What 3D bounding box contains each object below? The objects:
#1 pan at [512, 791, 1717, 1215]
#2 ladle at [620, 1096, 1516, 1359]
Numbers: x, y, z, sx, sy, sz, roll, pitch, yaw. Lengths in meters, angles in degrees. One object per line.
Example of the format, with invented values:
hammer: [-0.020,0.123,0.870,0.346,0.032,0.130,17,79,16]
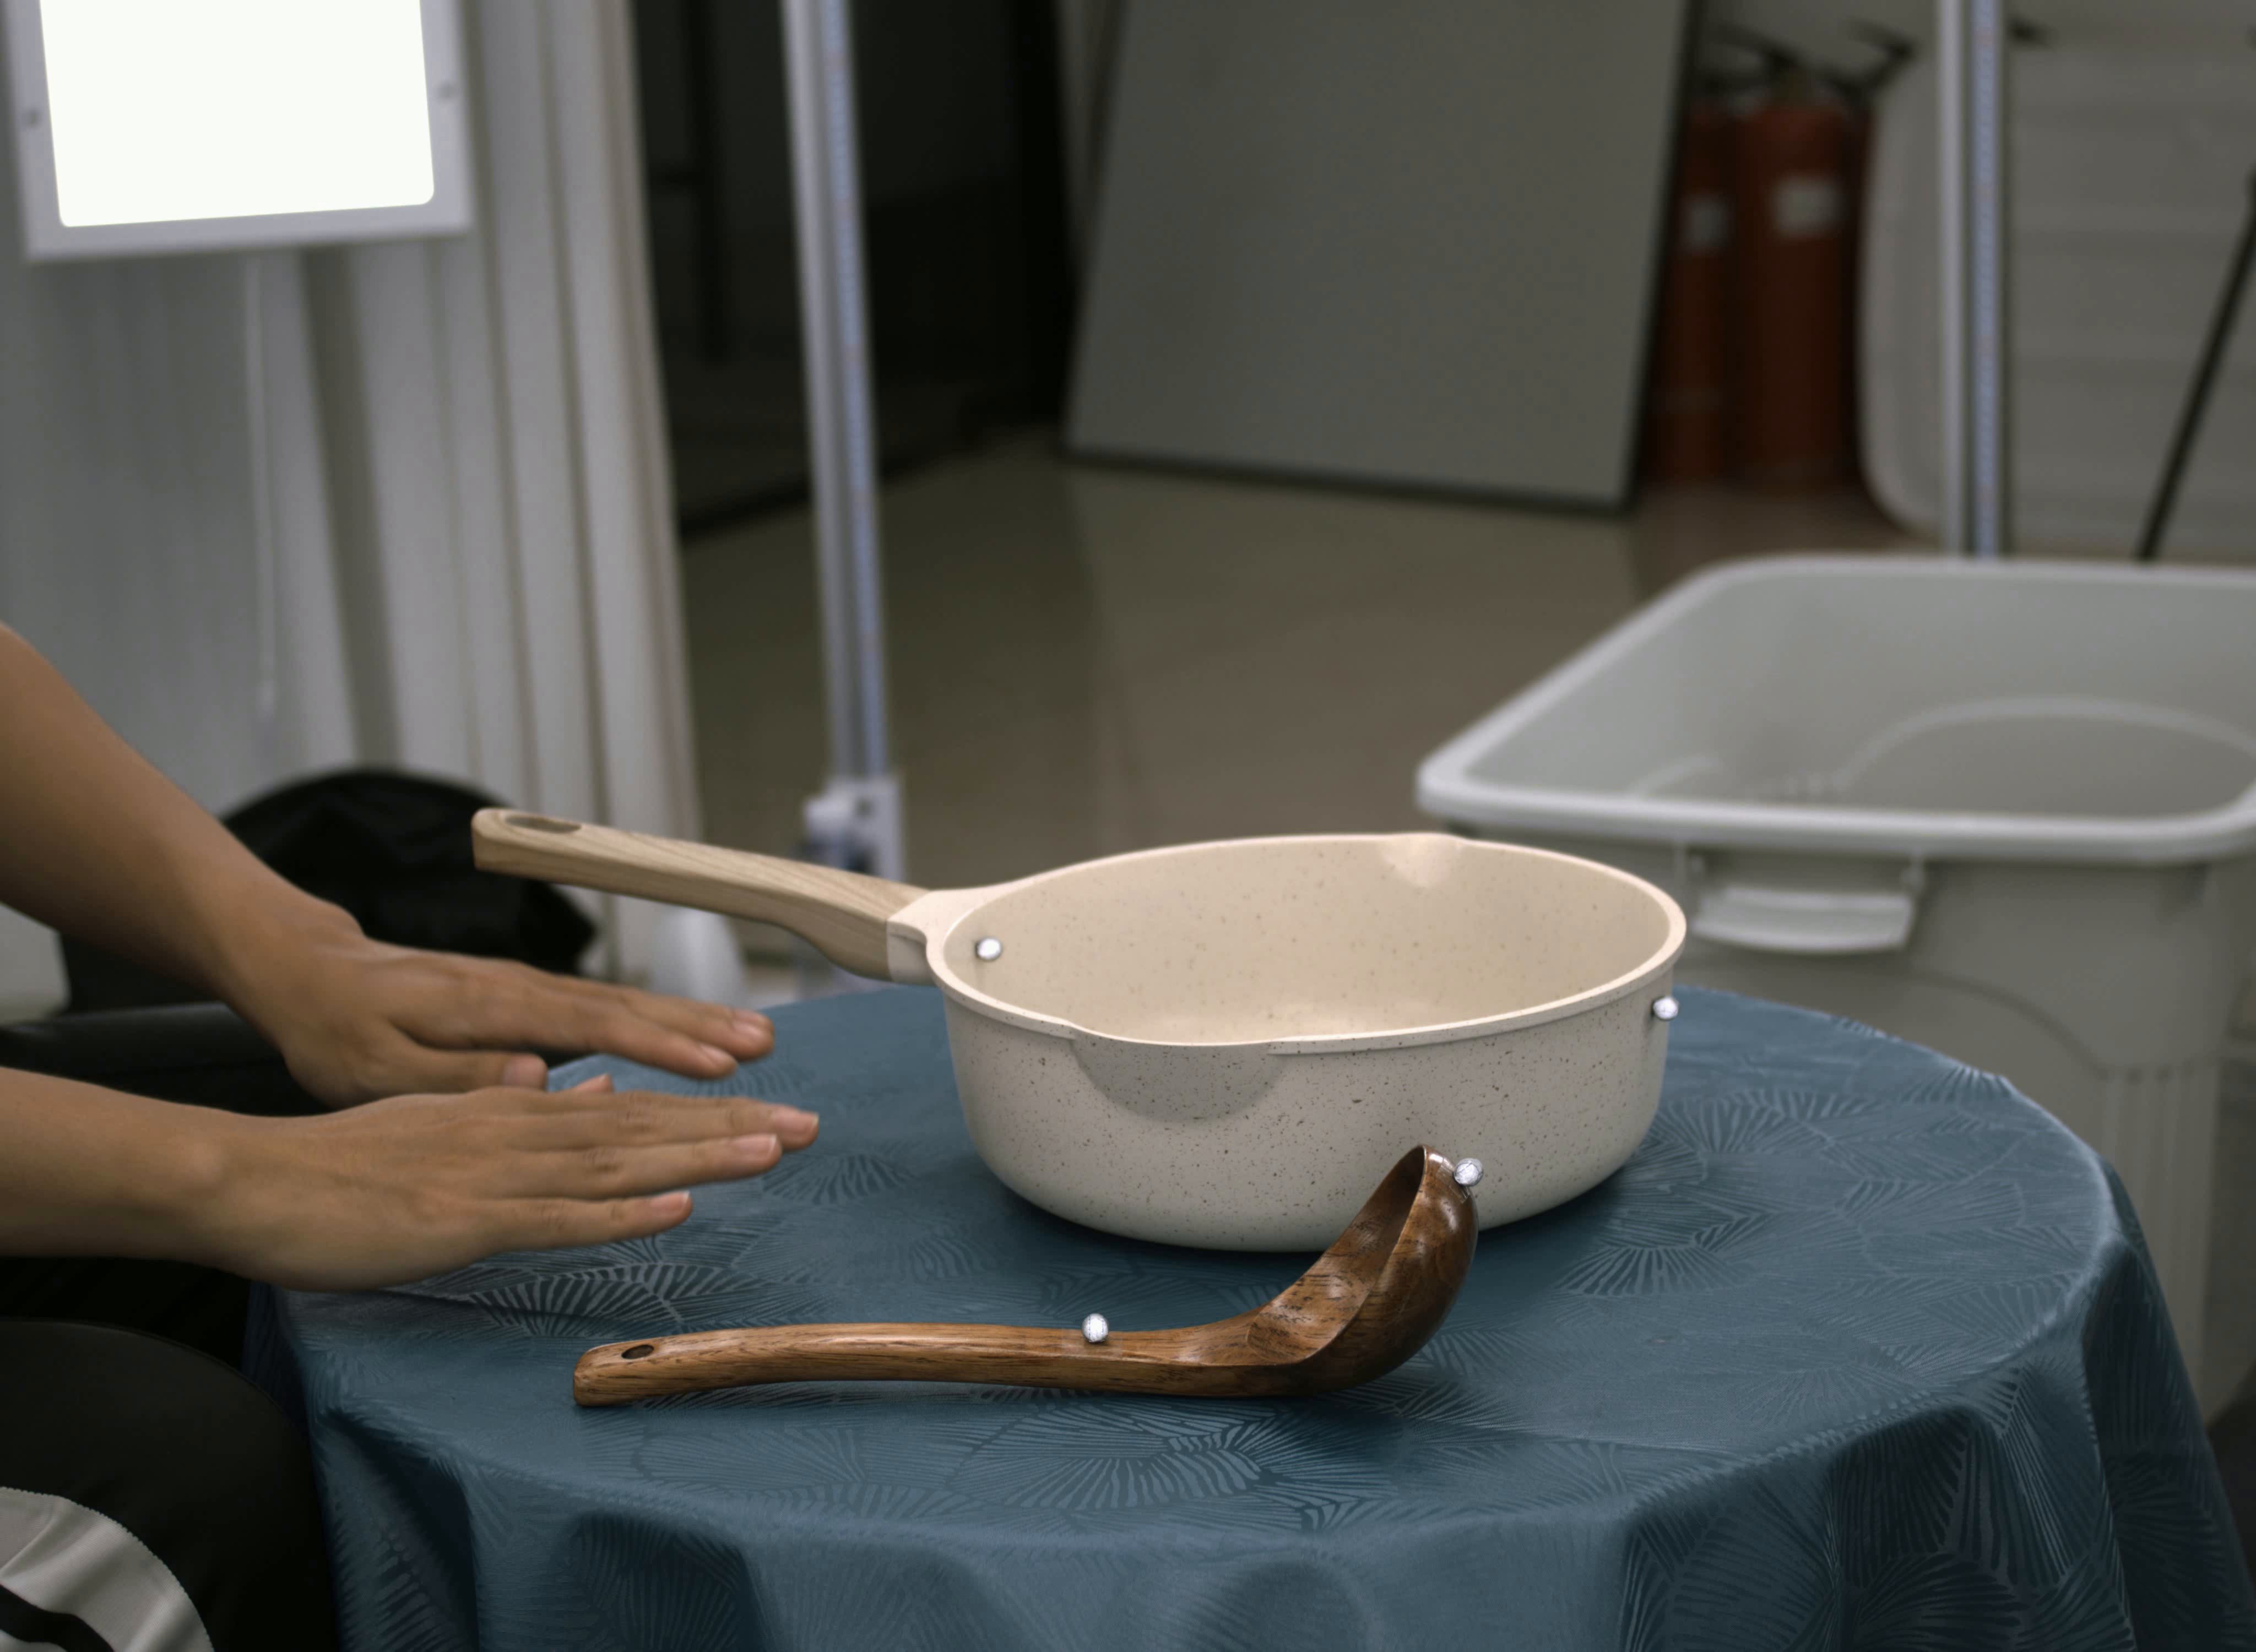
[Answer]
pan: [-0.011,0.050,1.832,0.435,0.103,0.260,2,16,23]
ladle: [-0.020,0.120,1.590,0.272,0.077,0.081,-1,16,10]
